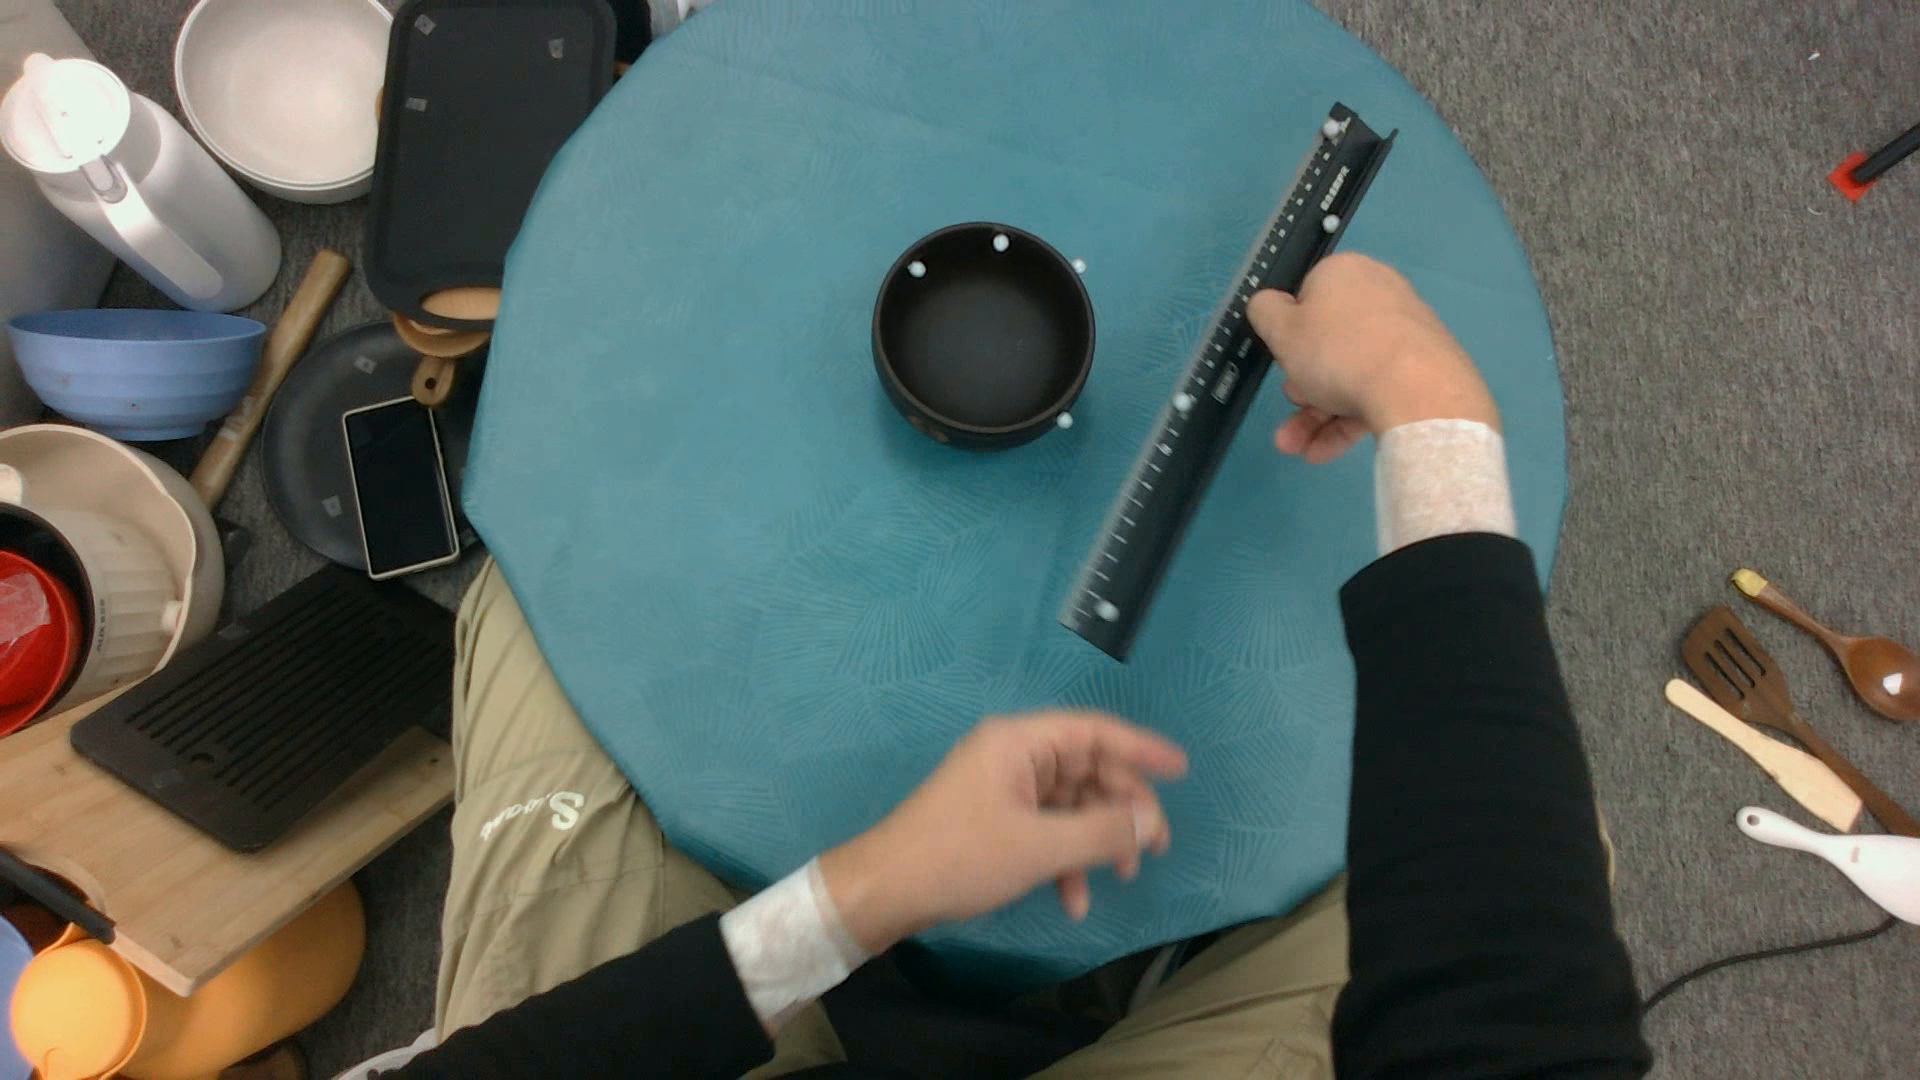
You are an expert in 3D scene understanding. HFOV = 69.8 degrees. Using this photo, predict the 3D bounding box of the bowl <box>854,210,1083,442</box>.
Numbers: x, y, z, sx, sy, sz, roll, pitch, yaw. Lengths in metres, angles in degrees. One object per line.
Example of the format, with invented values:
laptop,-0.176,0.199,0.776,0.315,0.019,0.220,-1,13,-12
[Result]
bowl,0.003,-0.107,0.728,0.118,0.069,0.118,1,76,-4

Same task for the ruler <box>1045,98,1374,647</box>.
ruler,0.128,-0.091,0.675,0.039,0.017,0.313,32,75,-11
